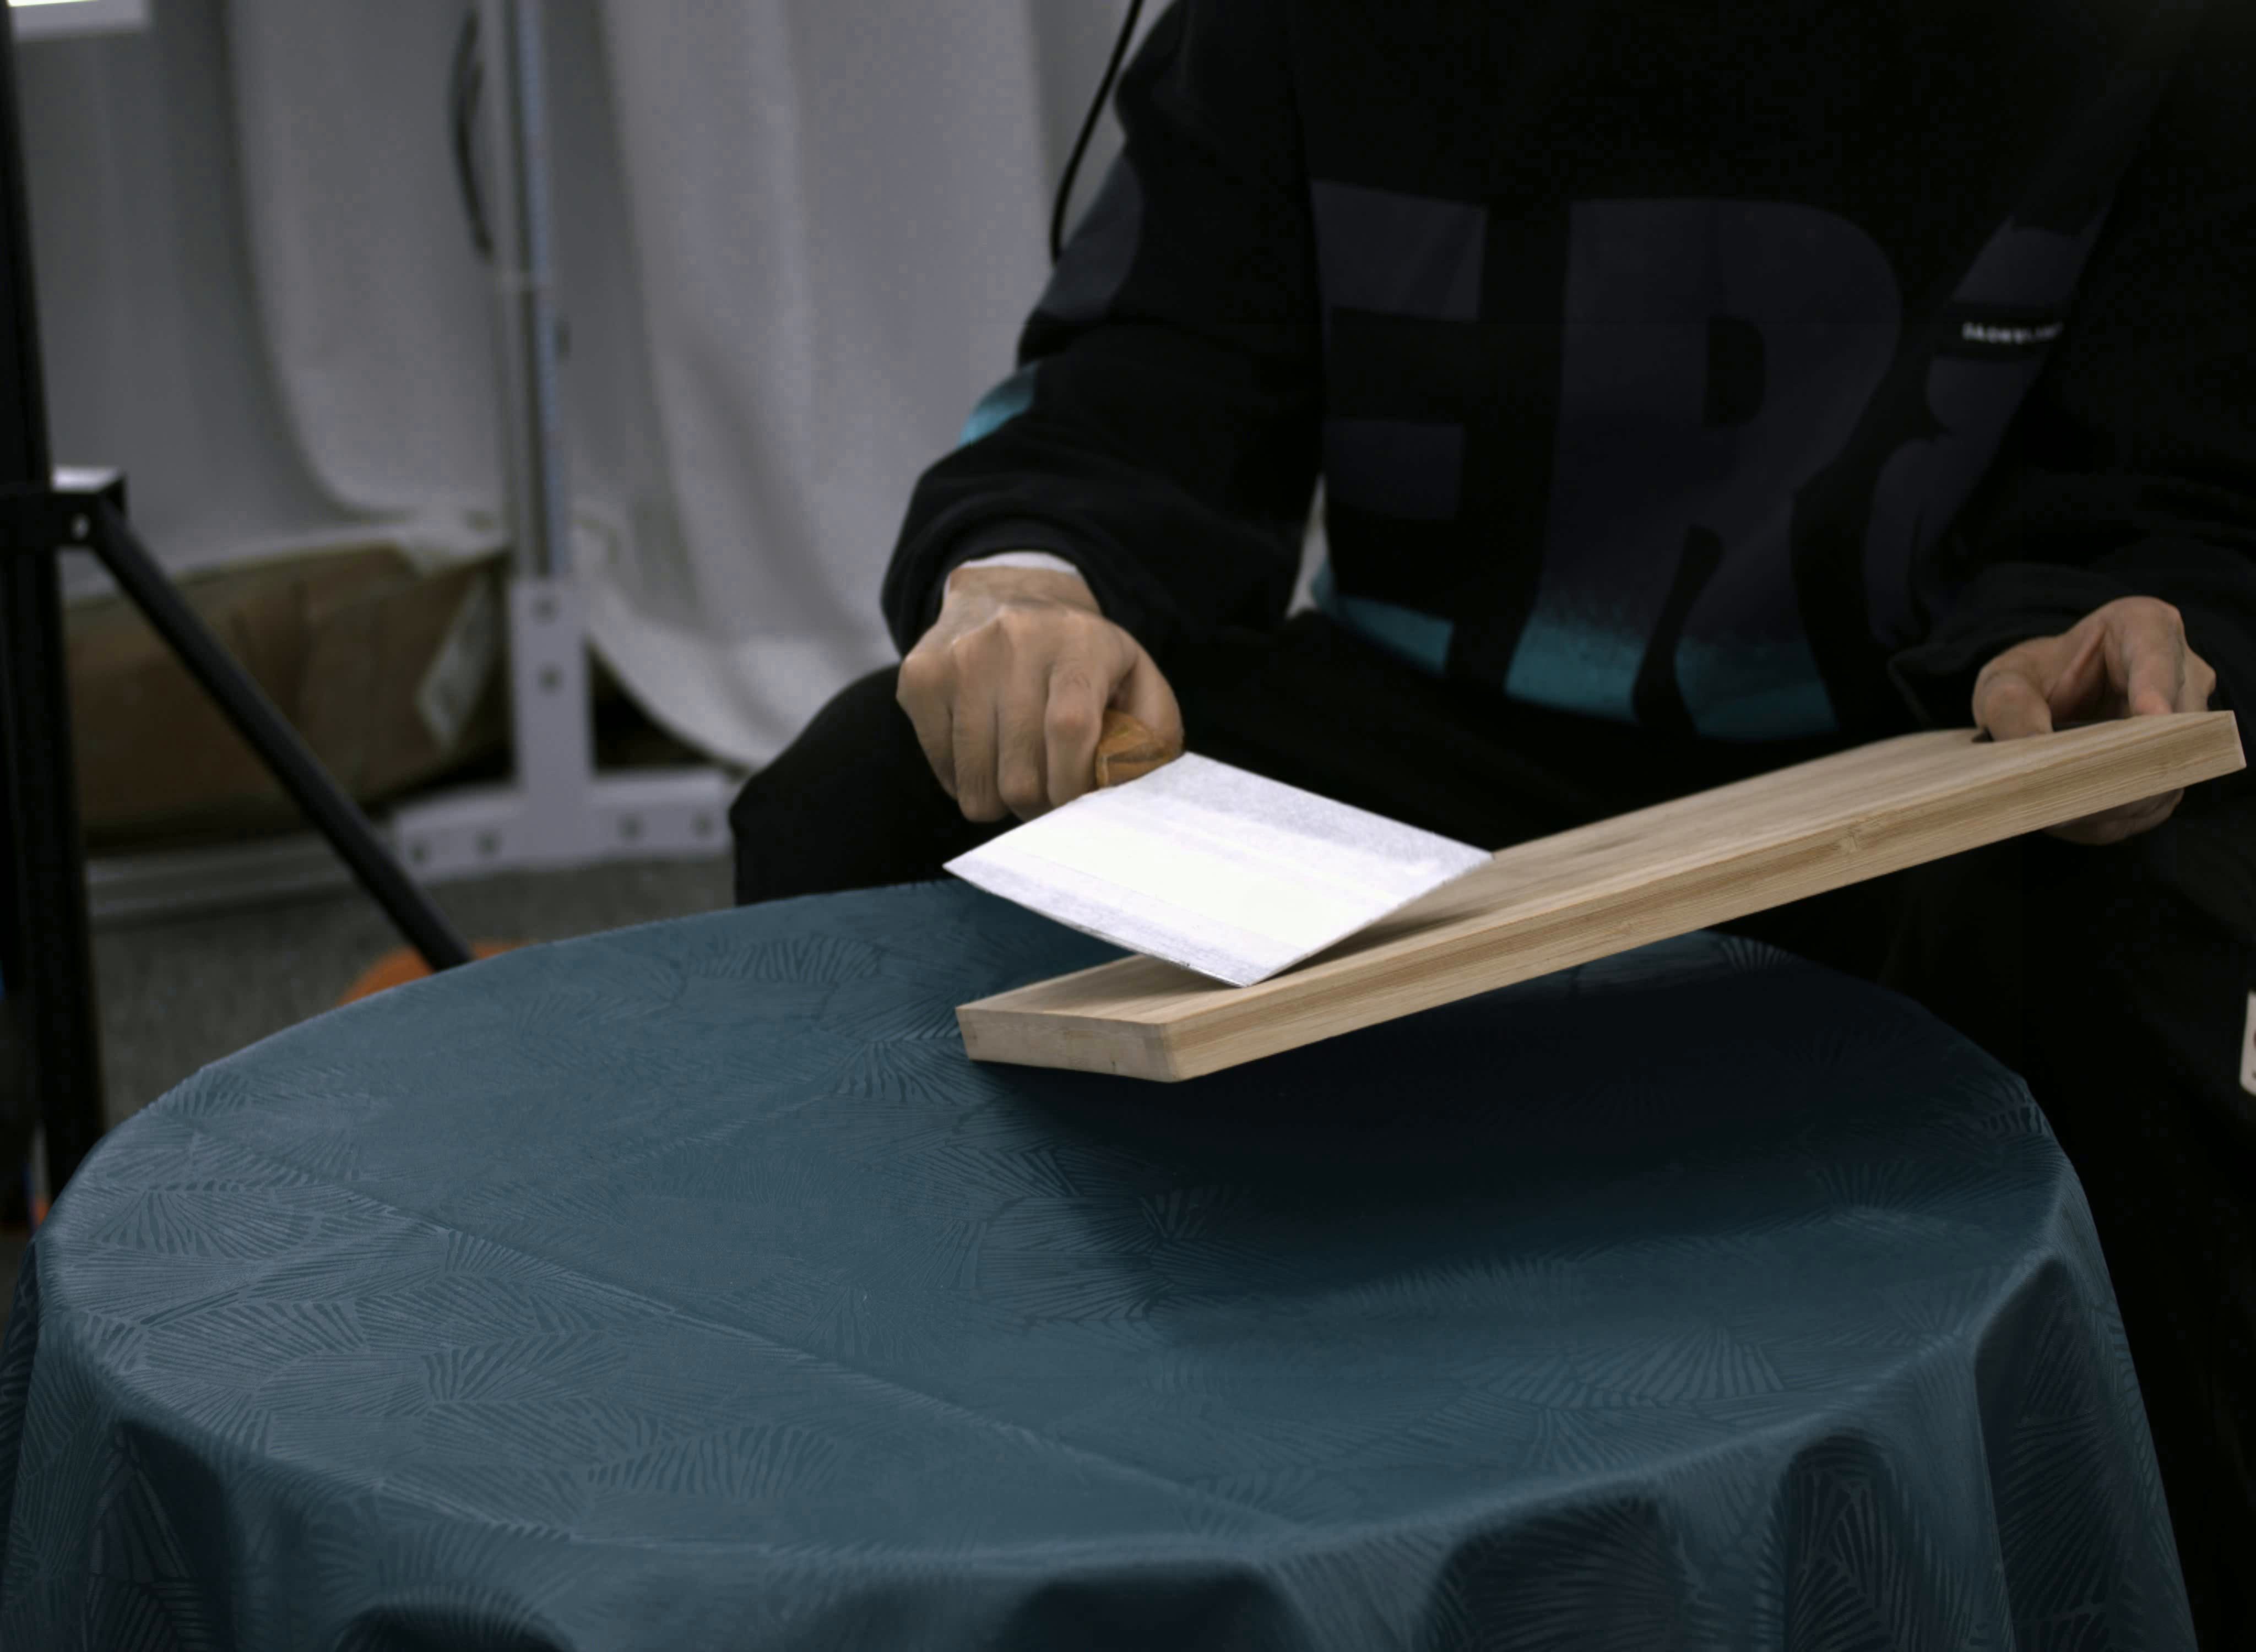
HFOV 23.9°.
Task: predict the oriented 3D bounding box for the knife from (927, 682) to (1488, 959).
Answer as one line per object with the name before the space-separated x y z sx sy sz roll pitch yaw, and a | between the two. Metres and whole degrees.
knife | -0.002 0.000 1.637 0.091 0.021 0.312 -28 22 -21

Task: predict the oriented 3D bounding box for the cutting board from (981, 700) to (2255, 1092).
cutting board | 0.141 0.021 1.609 0.344 0.023 0.253 -16 3 -15
